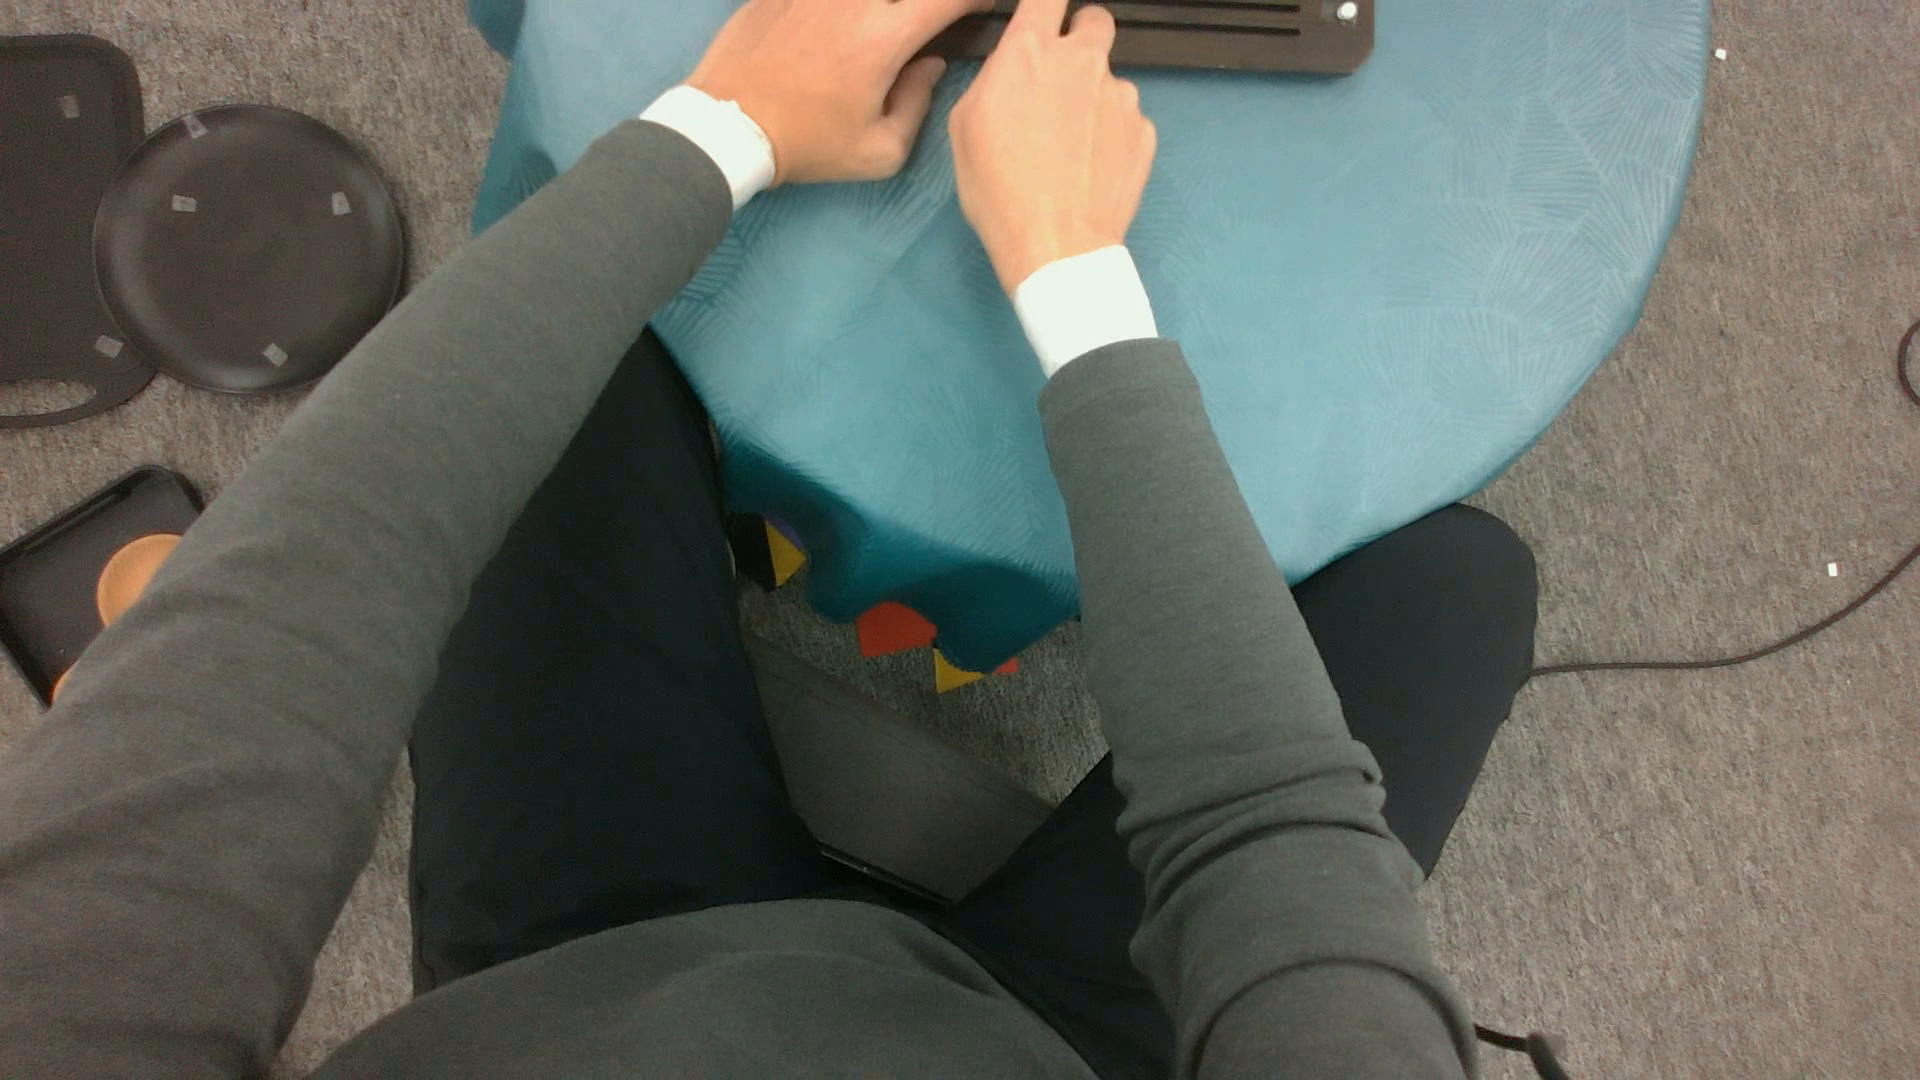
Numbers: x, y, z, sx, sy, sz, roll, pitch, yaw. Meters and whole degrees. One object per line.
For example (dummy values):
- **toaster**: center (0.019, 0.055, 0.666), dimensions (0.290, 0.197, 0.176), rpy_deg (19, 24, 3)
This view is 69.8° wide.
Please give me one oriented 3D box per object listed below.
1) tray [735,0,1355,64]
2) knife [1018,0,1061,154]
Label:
- **tray**: center (0.044, -0.323, 0.674), dimensions (0.306, 0.018, 0.170), rpy_deg (0, 88, -7)
- **knife**: center (0.033, -0.292, 0.639), dimensions (0.016, 0.024, 0.238), rpy_deg (-1, 78, -6)
